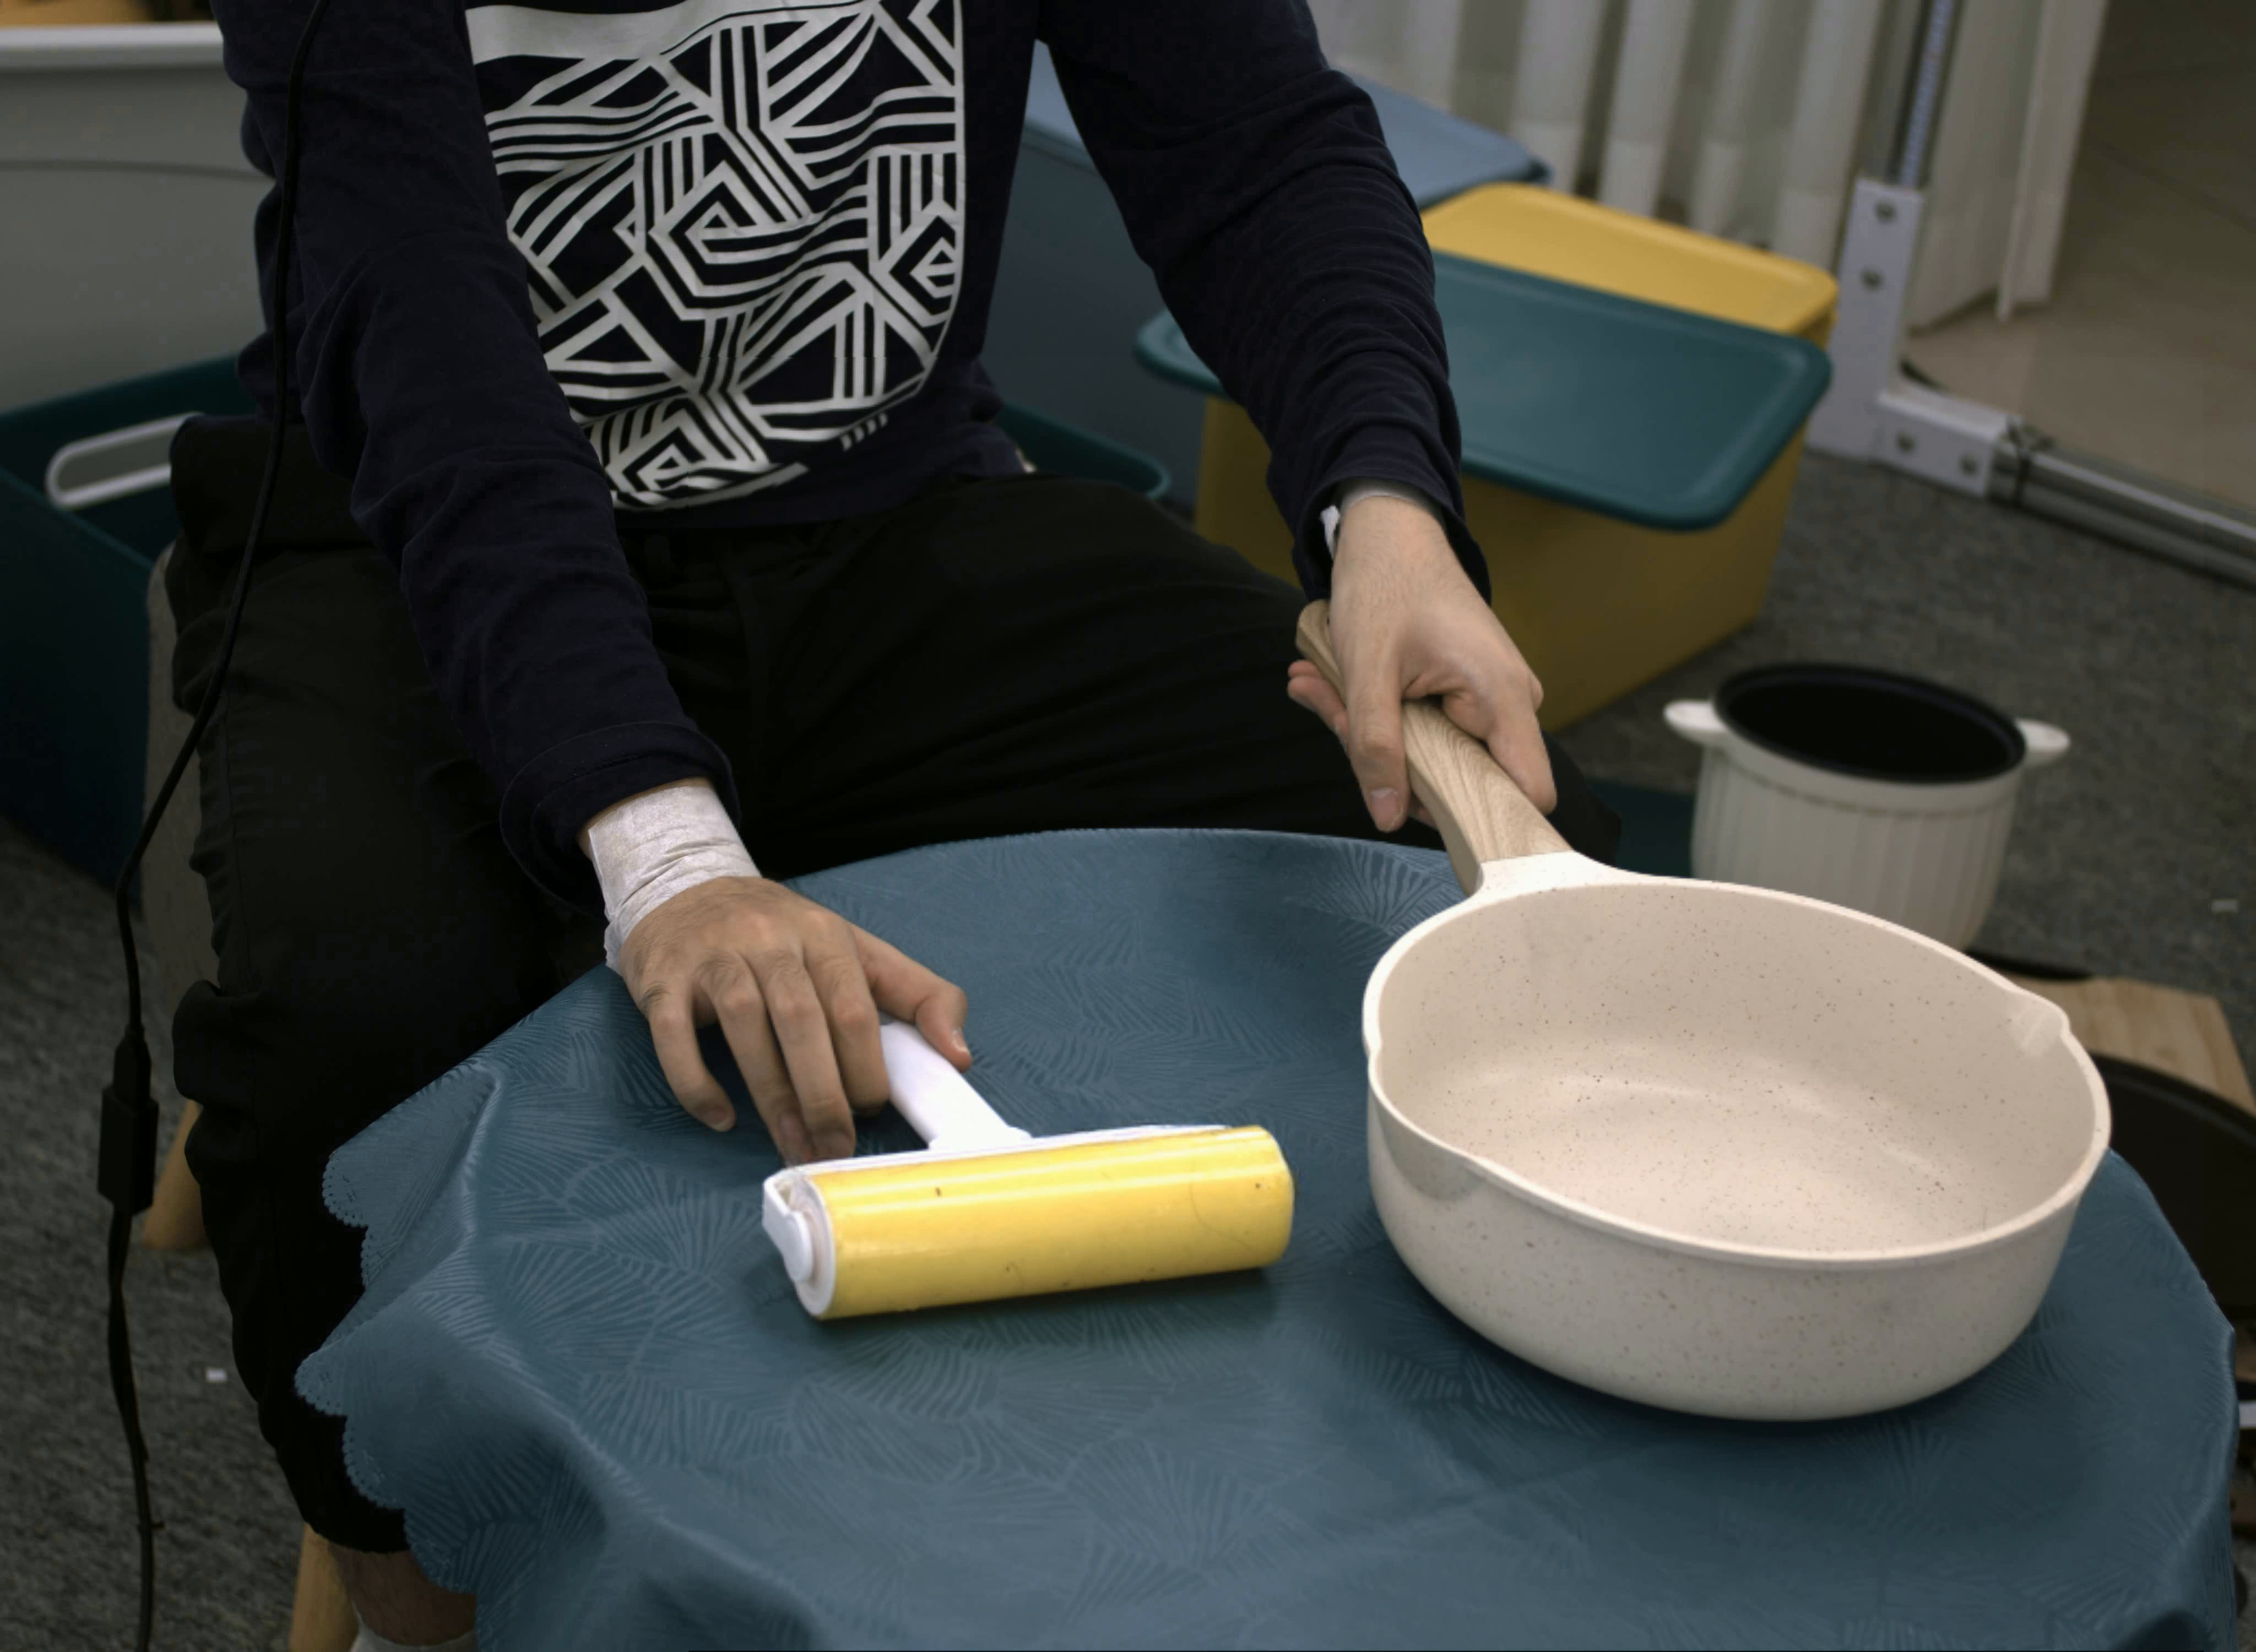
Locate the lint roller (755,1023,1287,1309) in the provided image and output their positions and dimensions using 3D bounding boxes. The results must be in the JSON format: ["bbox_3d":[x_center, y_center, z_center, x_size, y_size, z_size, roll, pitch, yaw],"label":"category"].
[{"bbox_3d":[-0.059,0.097,1.794,0.173,0.051,0.194,-5,28,-22],"label":"lint roller"}]

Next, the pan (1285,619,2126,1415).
[{"bbox_3d":[0.163,0.063,1.854,0.262,0.101,0.439,-9,30,-24],"label":"pan"}]
